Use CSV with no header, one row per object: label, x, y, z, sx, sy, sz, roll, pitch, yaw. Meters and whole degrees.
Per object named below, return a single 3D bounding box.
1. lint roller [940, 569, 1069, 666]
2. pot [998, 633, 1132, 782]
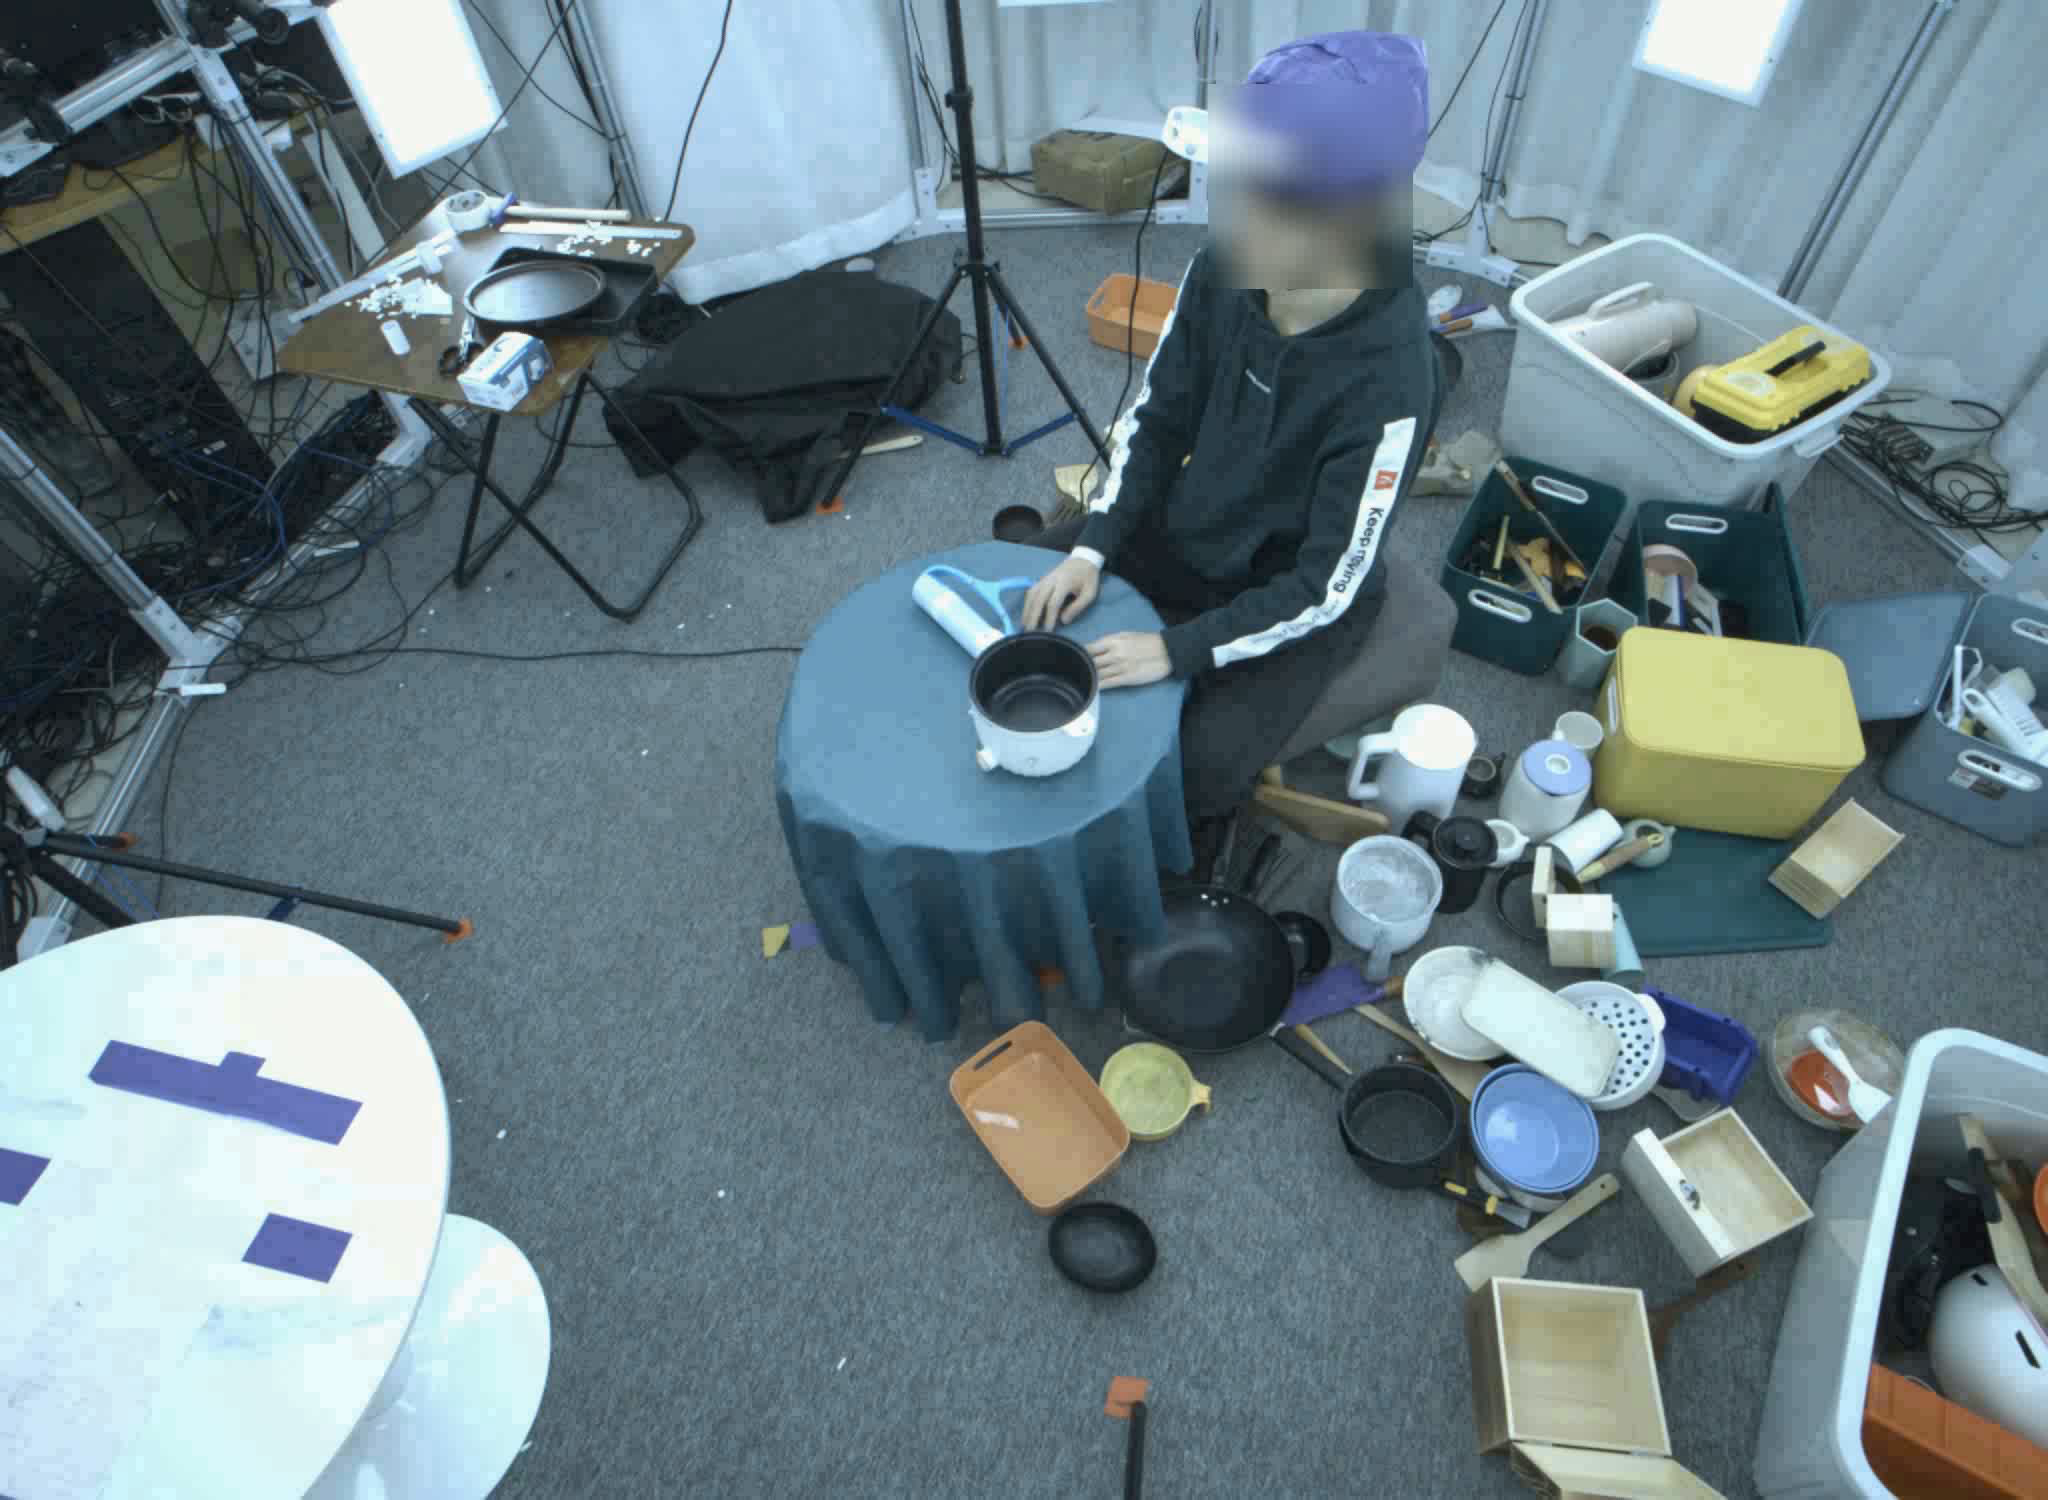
lint roller,-0.007,-0.227,1.910,0.181,0.069,0.224,-36,59,-20
pot,0.055,-0.048,1.729,0.192,0.144,0.236,-32,58,-22
